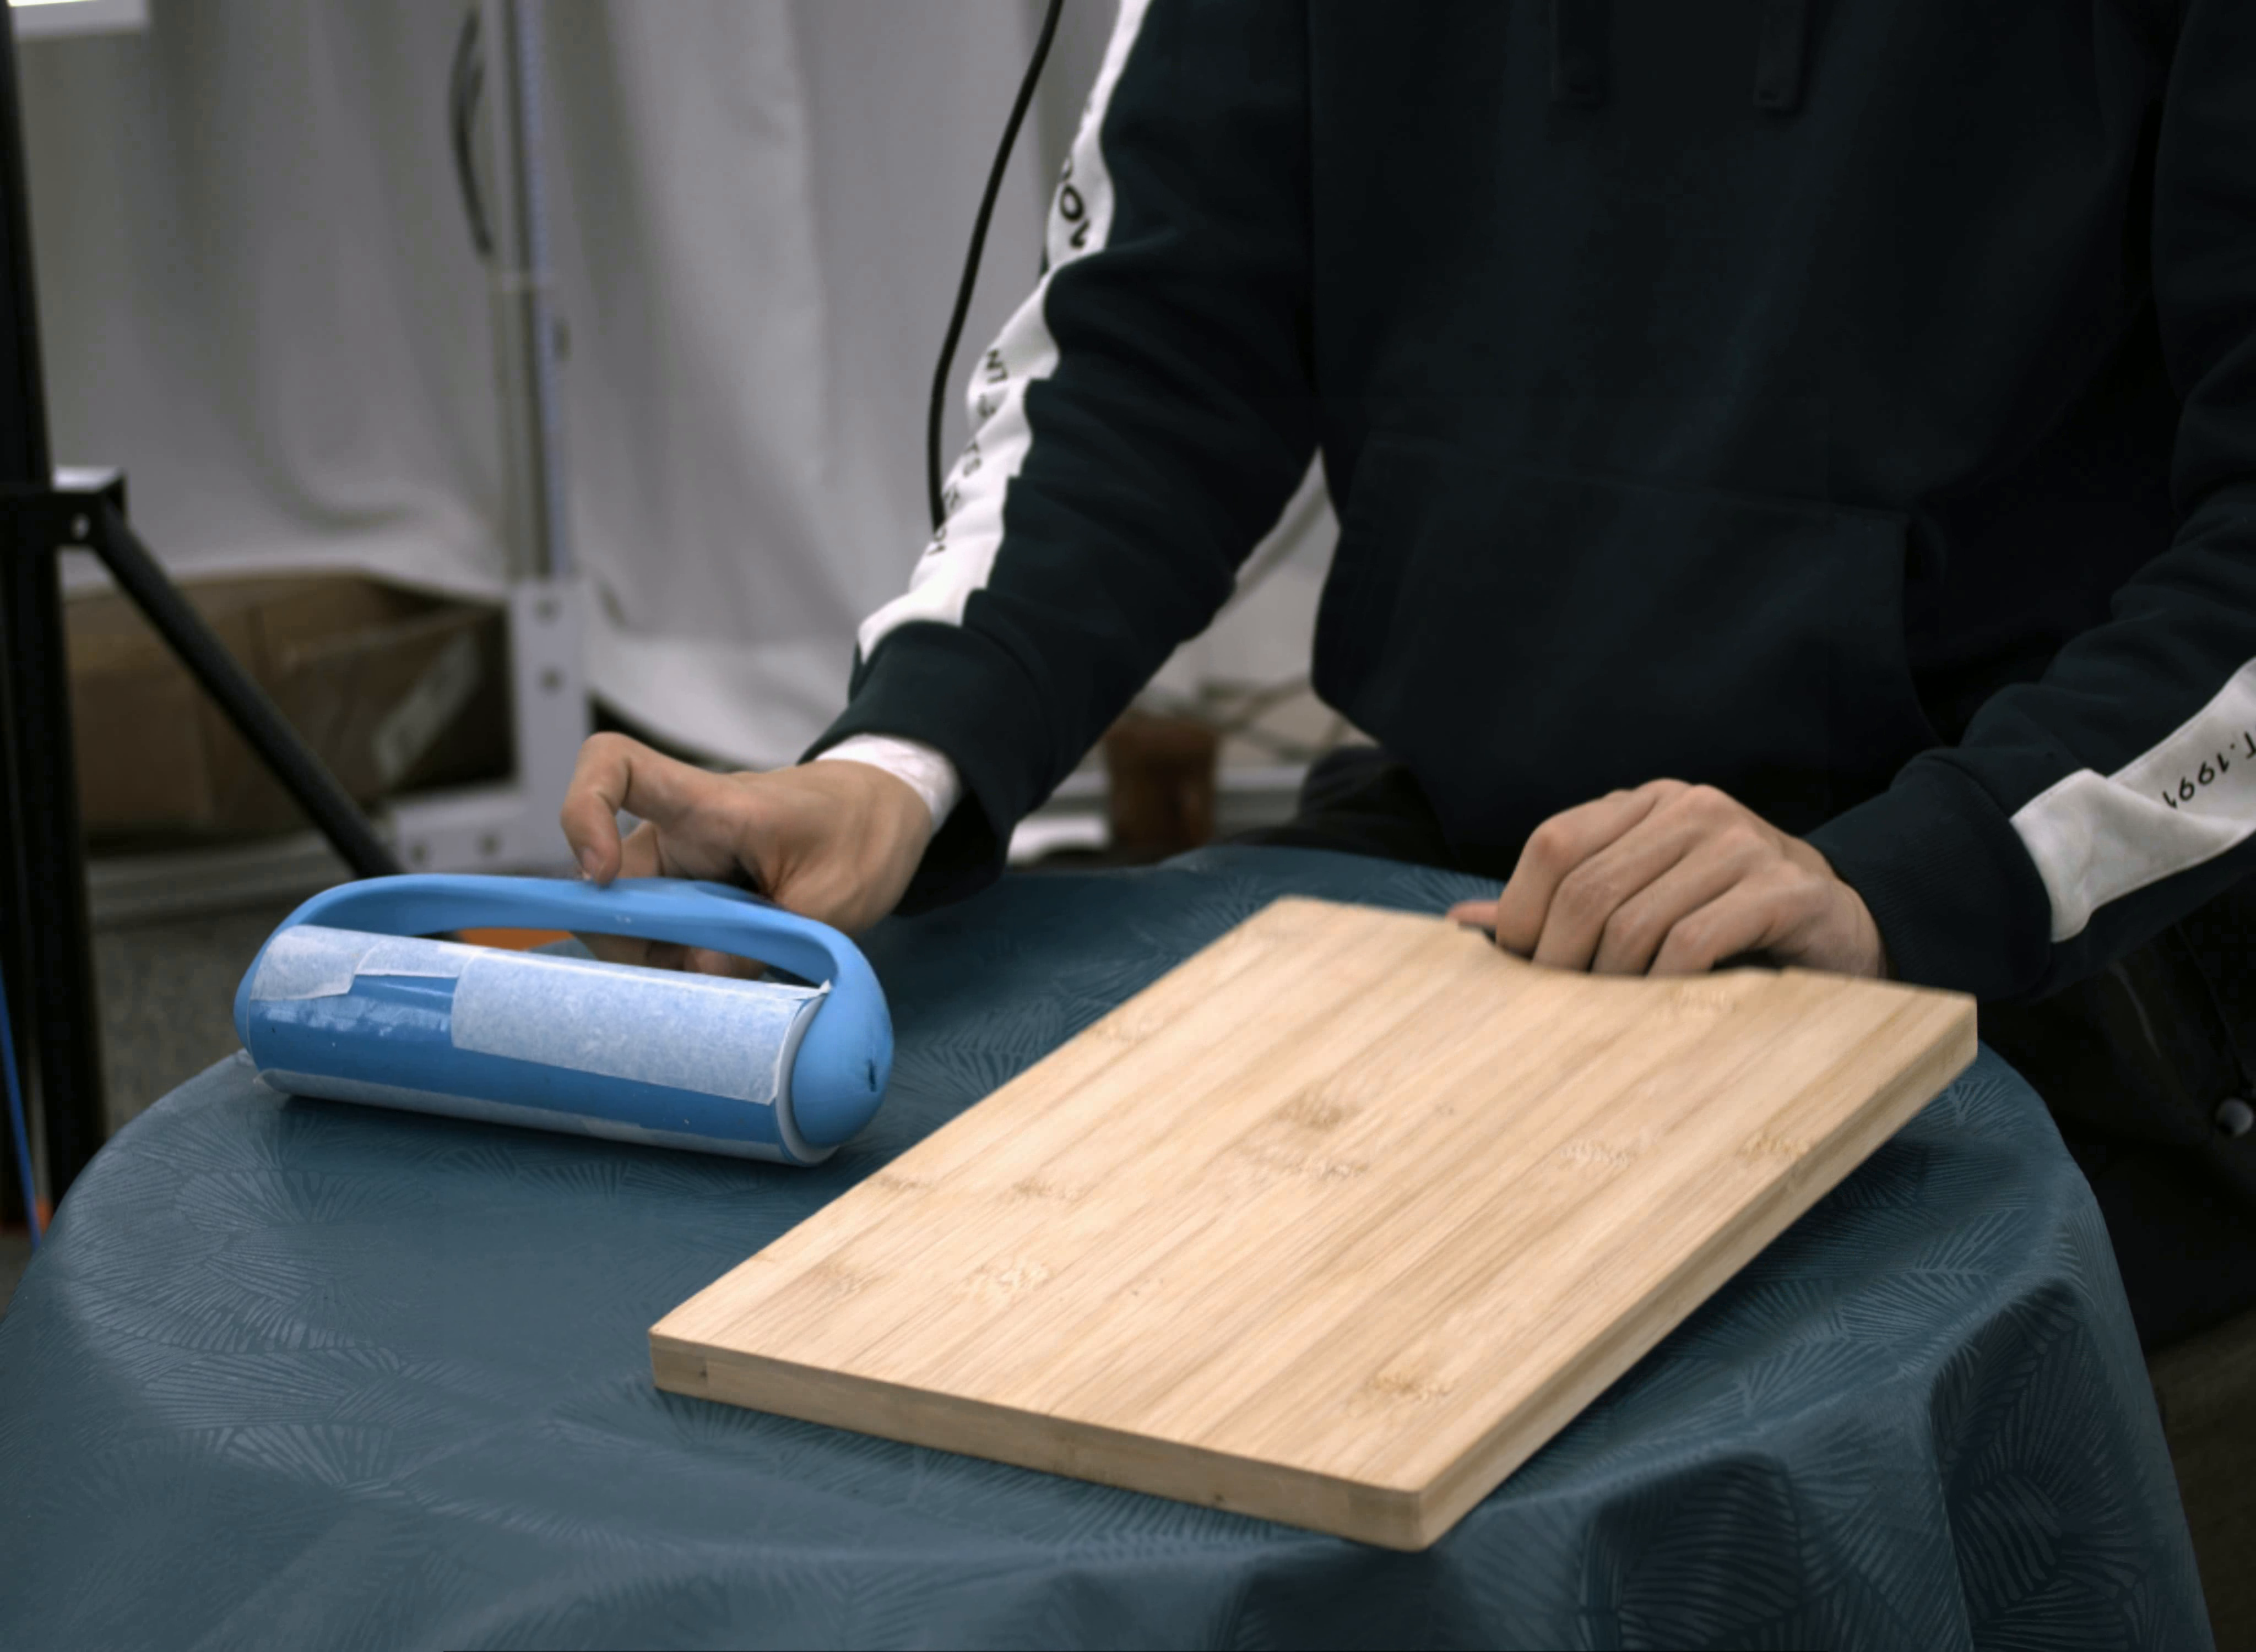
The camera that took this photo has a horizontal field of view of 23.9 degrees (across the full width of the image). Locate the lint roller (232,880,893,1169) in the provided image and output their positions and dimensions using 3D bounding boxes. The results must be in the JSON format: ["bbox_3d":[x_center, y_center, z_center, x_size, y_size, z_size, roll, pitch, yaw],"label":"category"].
[{"bbox_3d":[-0.152,0.050,1.685,0.232,0.068,0.177,4,18,26],"label":"lint roller"}]

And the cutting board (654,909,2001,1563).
[{"bbox_3d":[0.063,0.104,1.491,0.255,0.023,0.343,8,23,32],"label":"cutting board"}]
